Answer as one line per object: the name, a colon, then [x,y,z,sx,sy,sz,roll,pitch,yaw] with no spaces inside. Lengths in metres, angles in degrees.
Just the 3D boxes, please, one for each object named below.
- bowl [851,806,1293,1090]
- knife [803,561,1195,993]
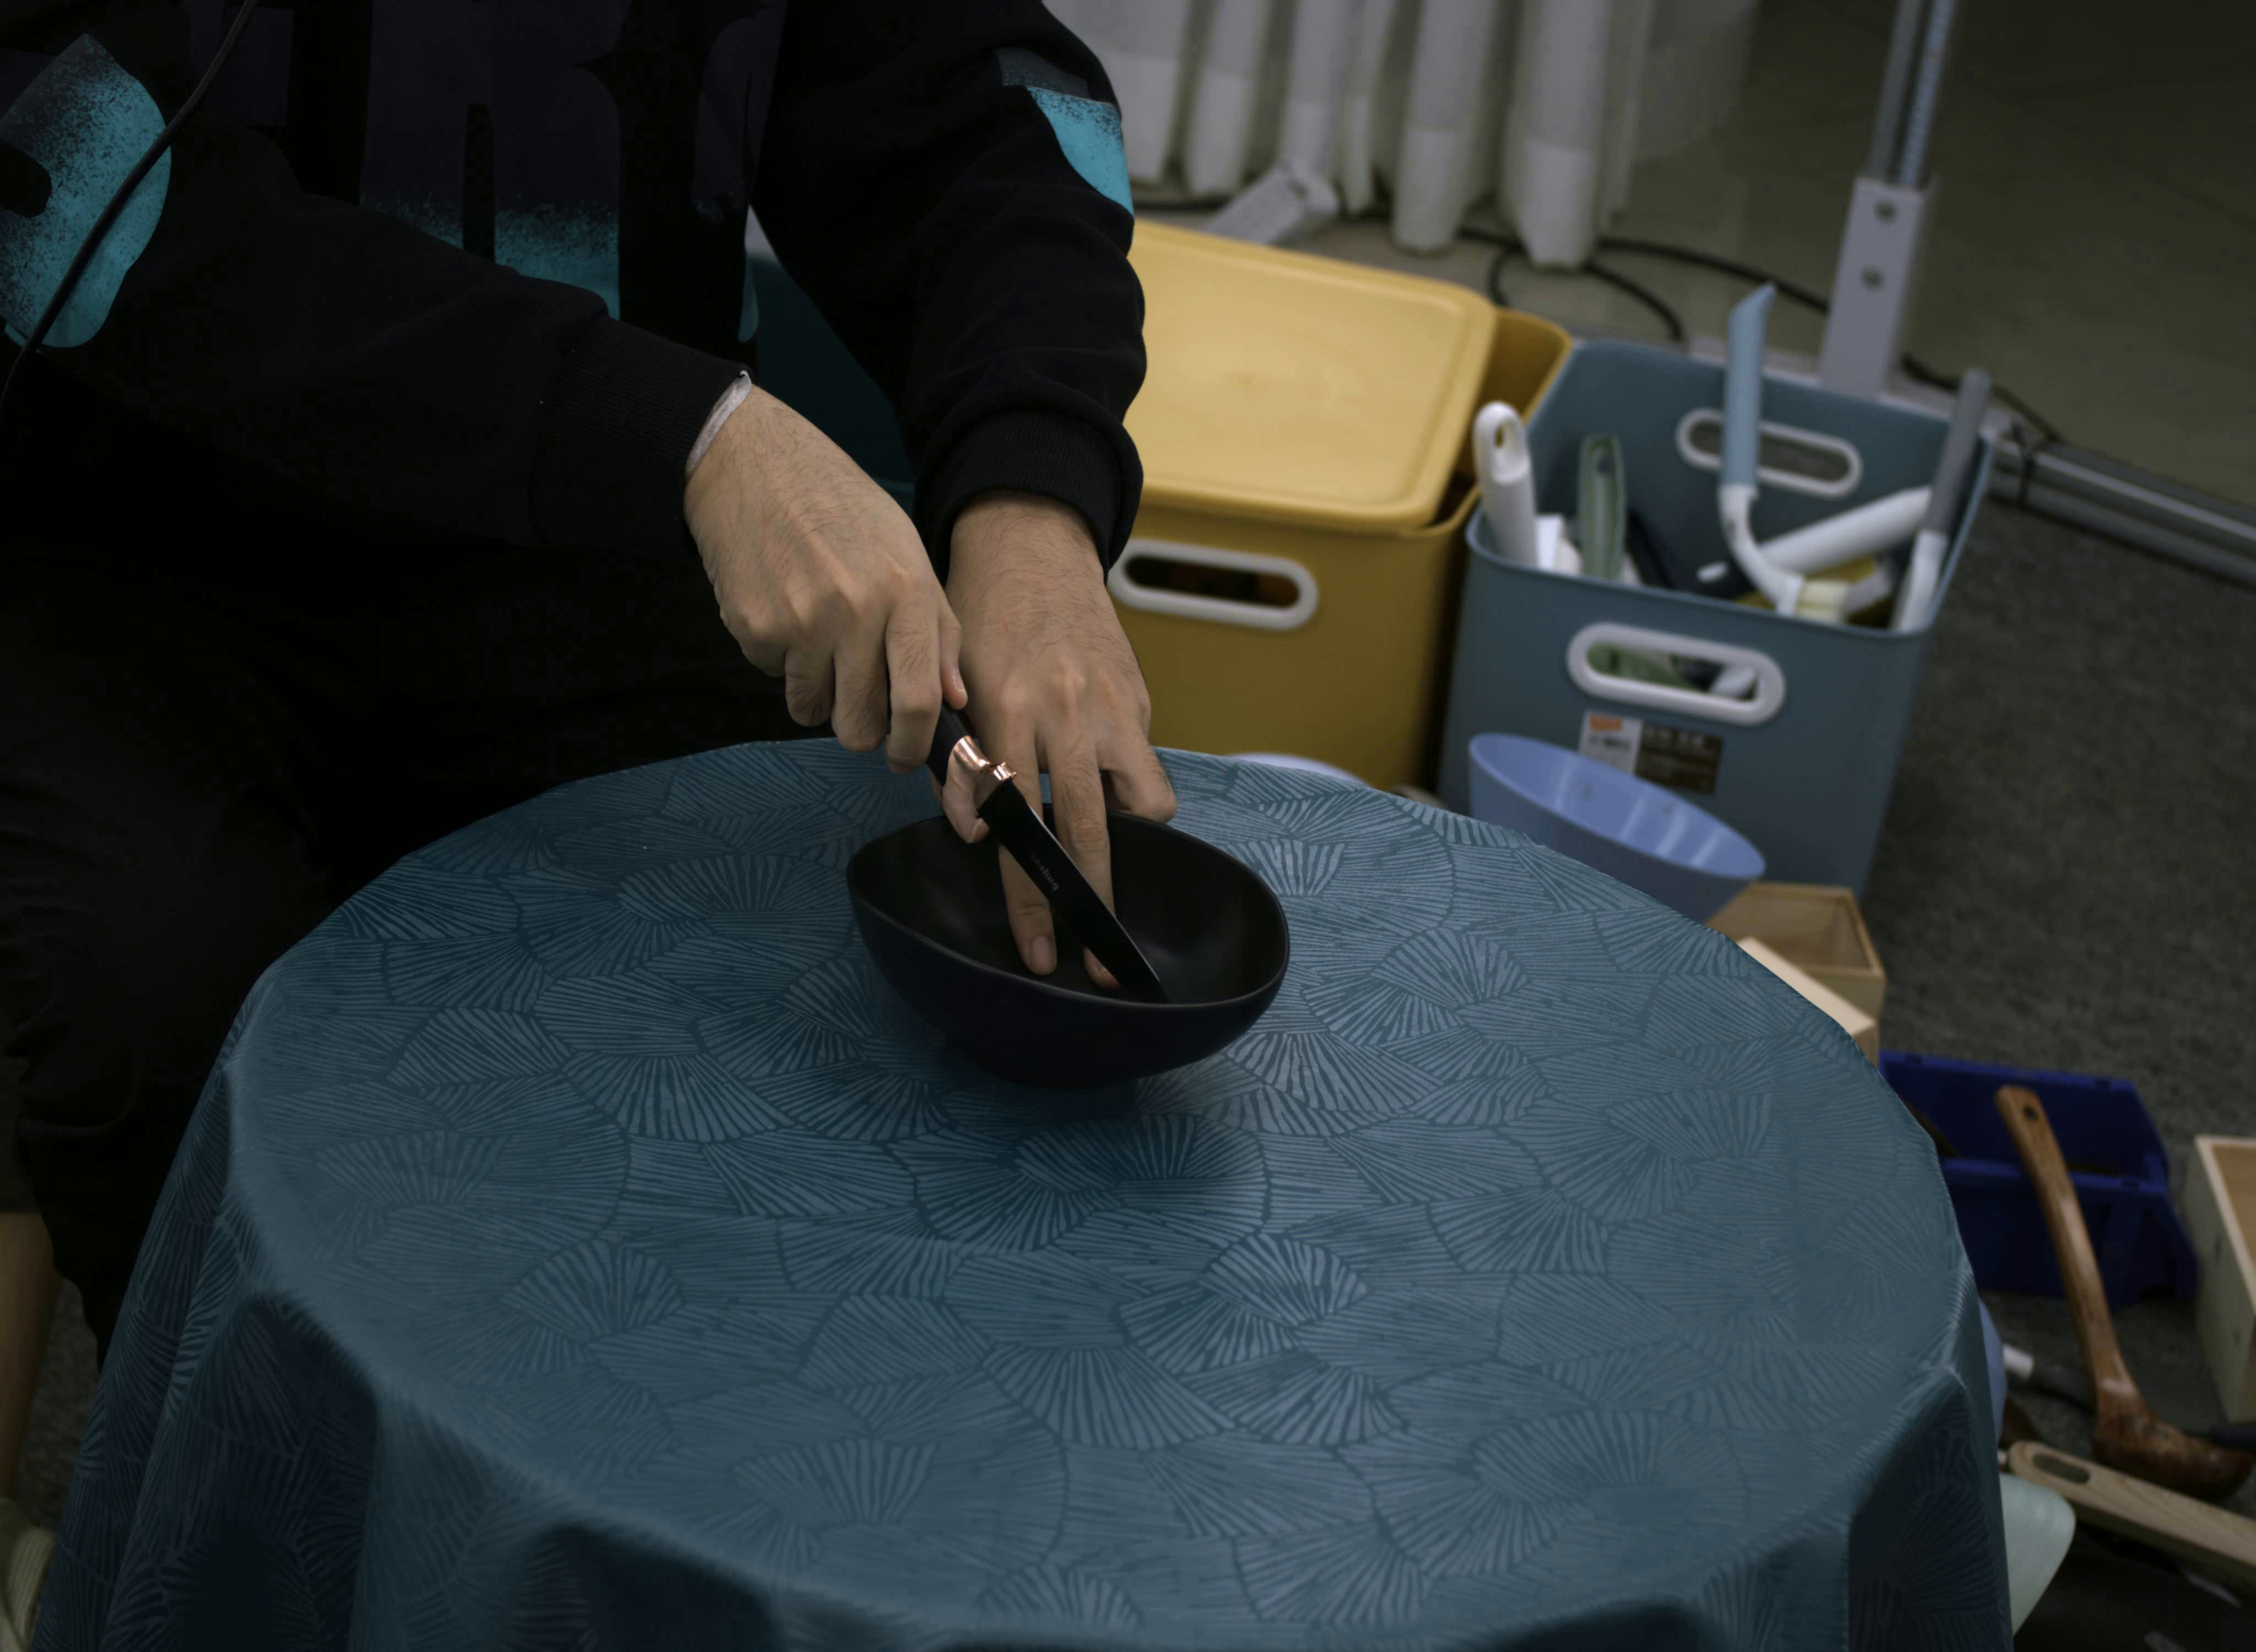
bowl: [-0.024,0.050,1.870,0.171,0.066,0.137,22,30,31]
knife: [-0.044,-0.010,1.884,0.017,0.026,0.227,-24,67,-42]
